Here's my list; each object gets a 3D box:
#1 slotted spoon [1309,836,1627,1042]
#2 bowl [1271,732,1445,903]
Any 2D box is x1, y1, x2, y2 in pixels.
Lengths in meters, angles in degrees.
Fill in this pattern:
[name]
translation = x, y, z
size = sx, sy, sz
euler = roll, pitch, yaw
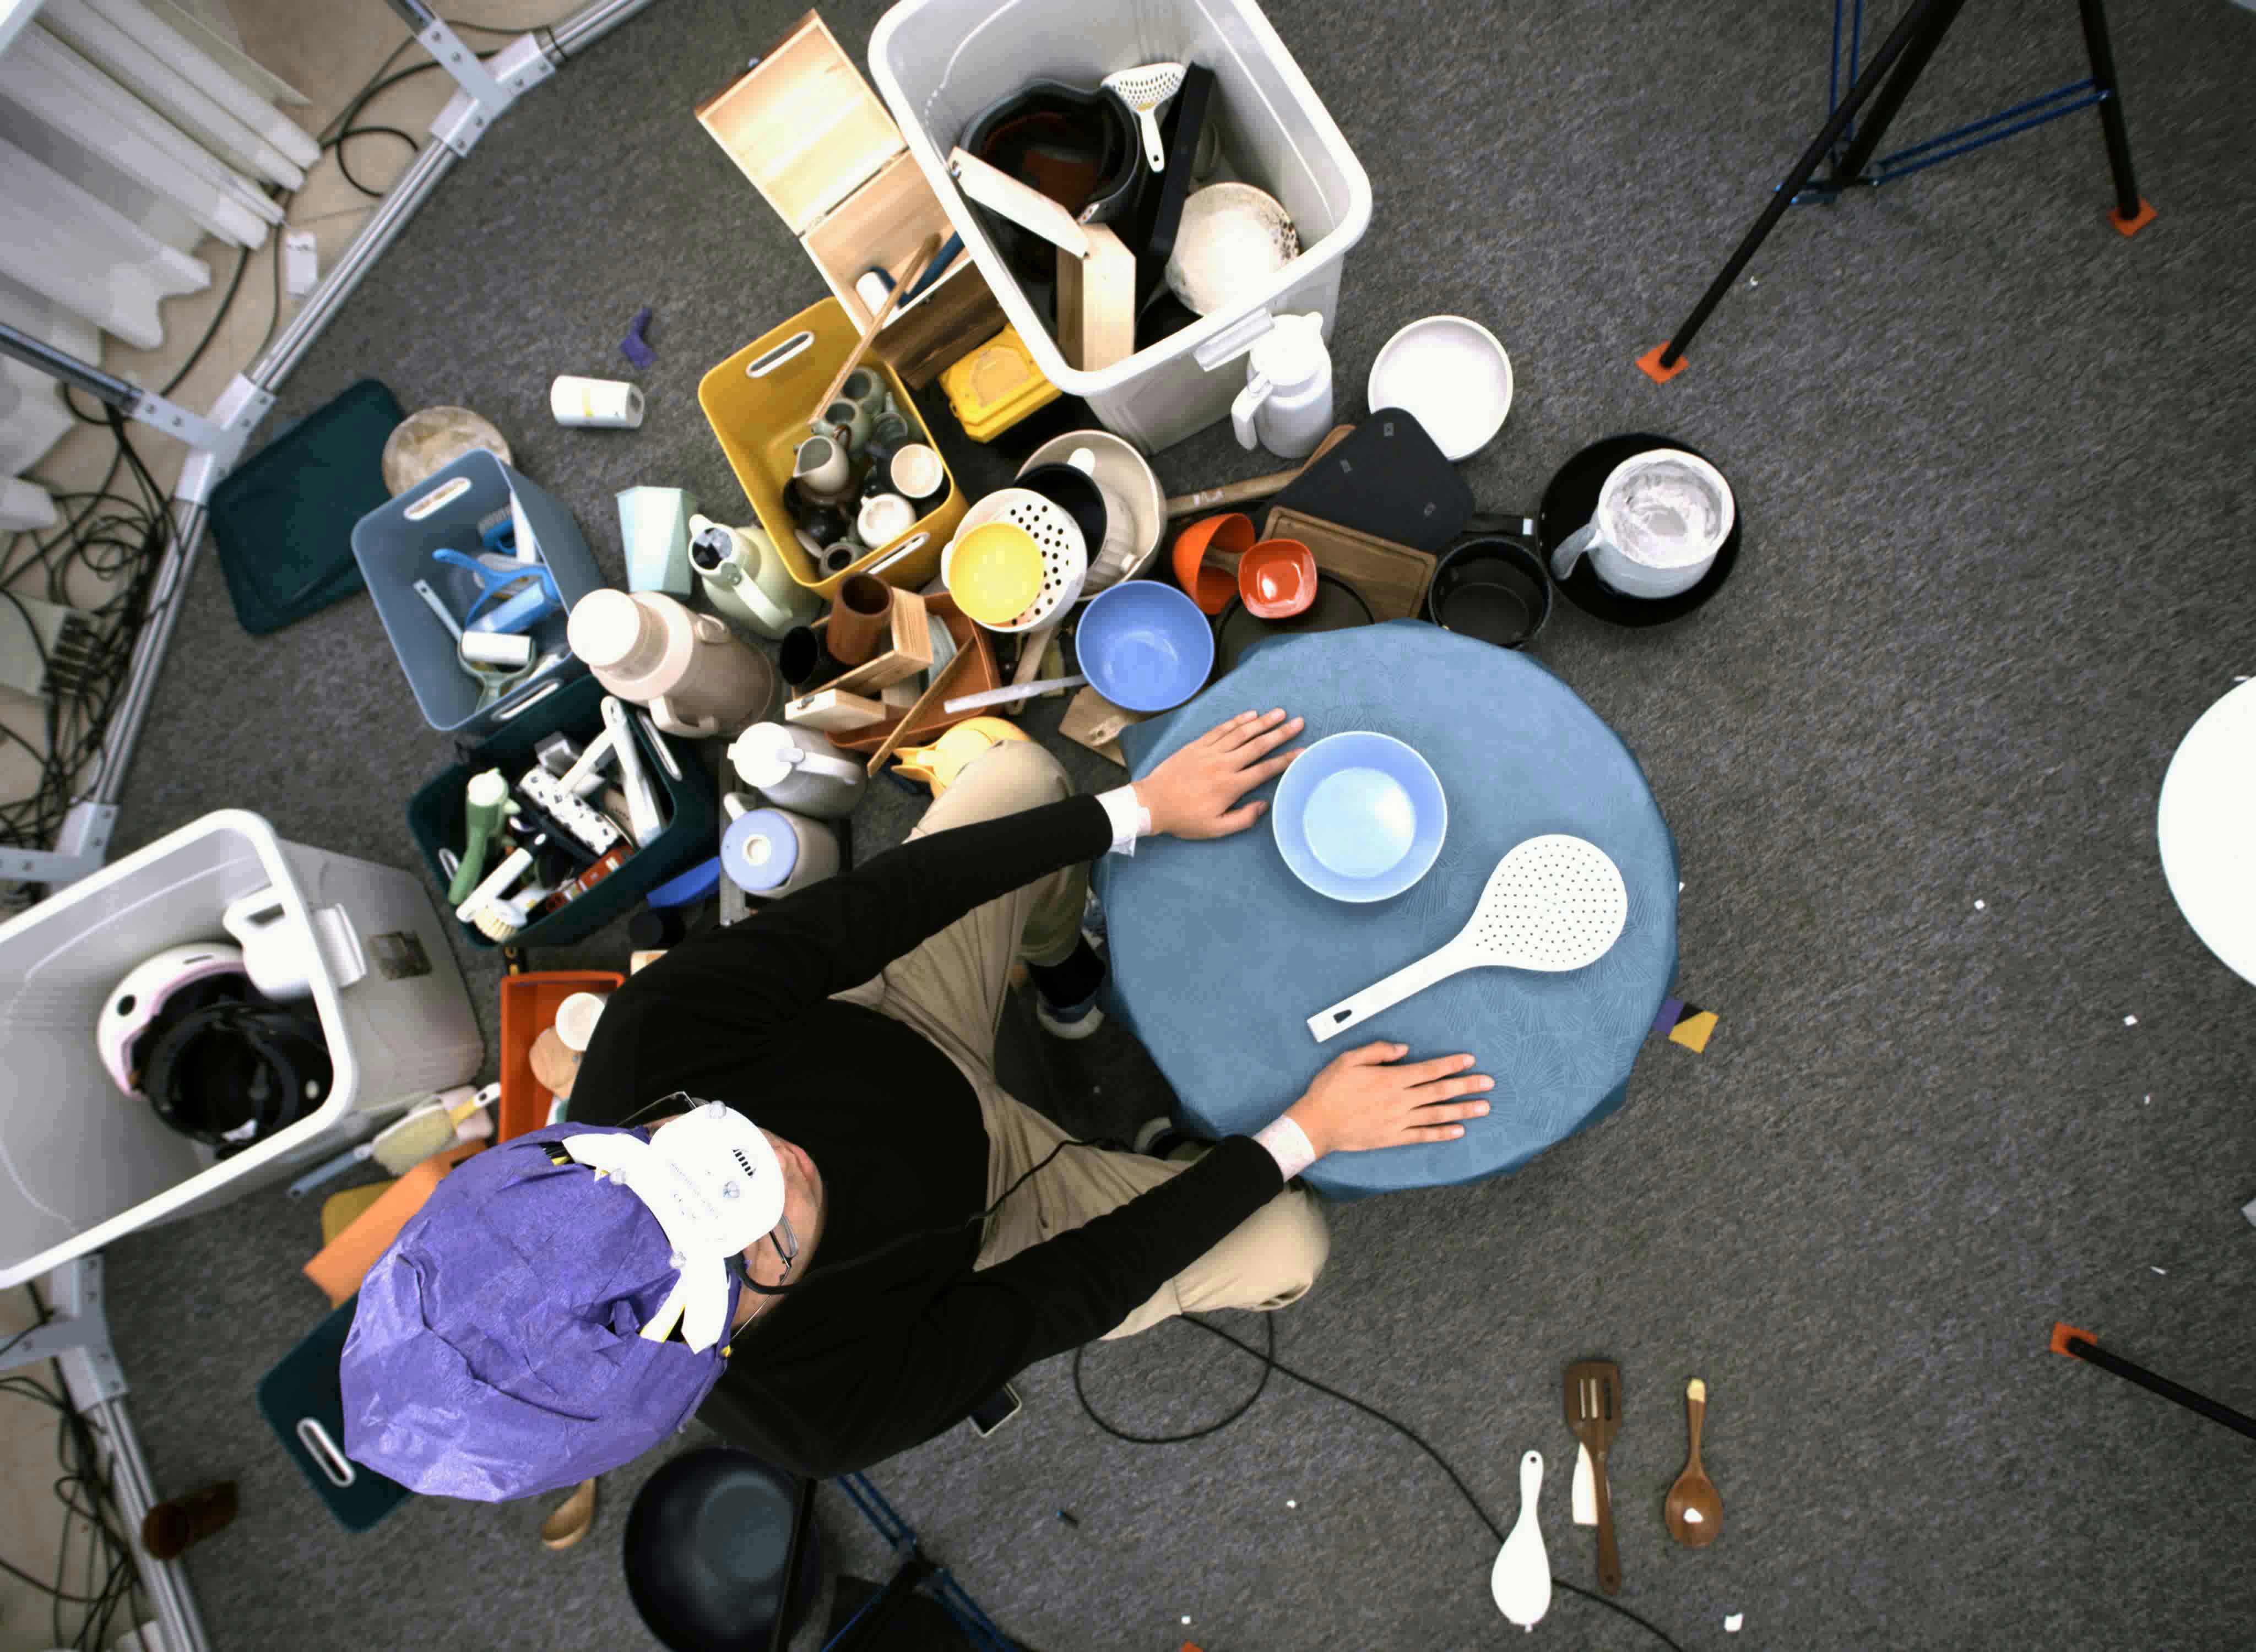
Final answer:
[slotted spoon]
translation = 0.344, 0.130, 1.420
size = 0.352, 0.046, 0.135
euler = -30, 82, 9
[bowl]
translation = 0.239, -0.008, 1.435
size = 0.177, 0.070, 0.175
euler = -1, 87, 12
